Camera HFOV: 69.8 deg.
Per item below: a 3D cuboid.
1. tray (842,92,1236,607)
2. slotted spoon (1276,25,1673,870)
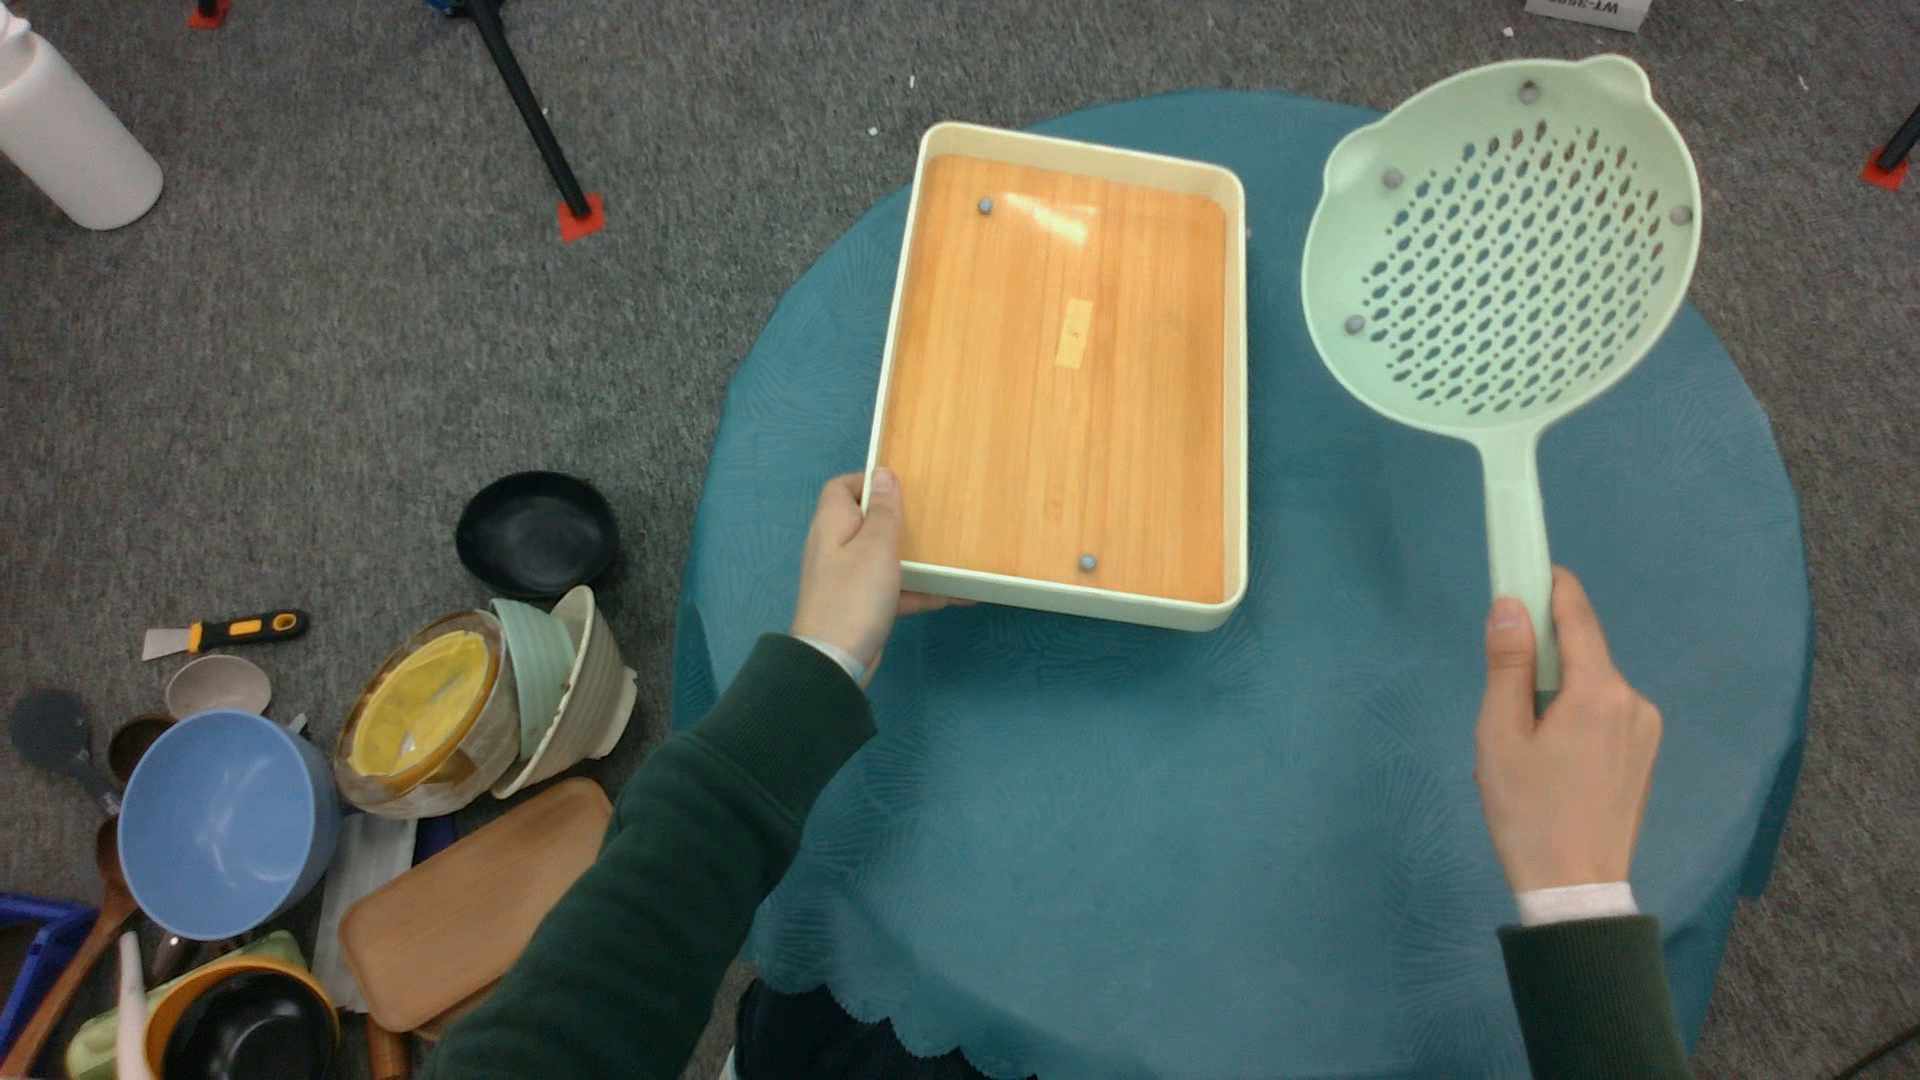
[{"bbox_3d":[0.048,-0.111,0.729,0.191,0.027,0.301,8,60,-4],"label":"tray"},{"bbox_3d":[0.229,-0.044,0.596,0.169,0.075,0.360,-10,69,35],"label":"slotted spoon"}]
